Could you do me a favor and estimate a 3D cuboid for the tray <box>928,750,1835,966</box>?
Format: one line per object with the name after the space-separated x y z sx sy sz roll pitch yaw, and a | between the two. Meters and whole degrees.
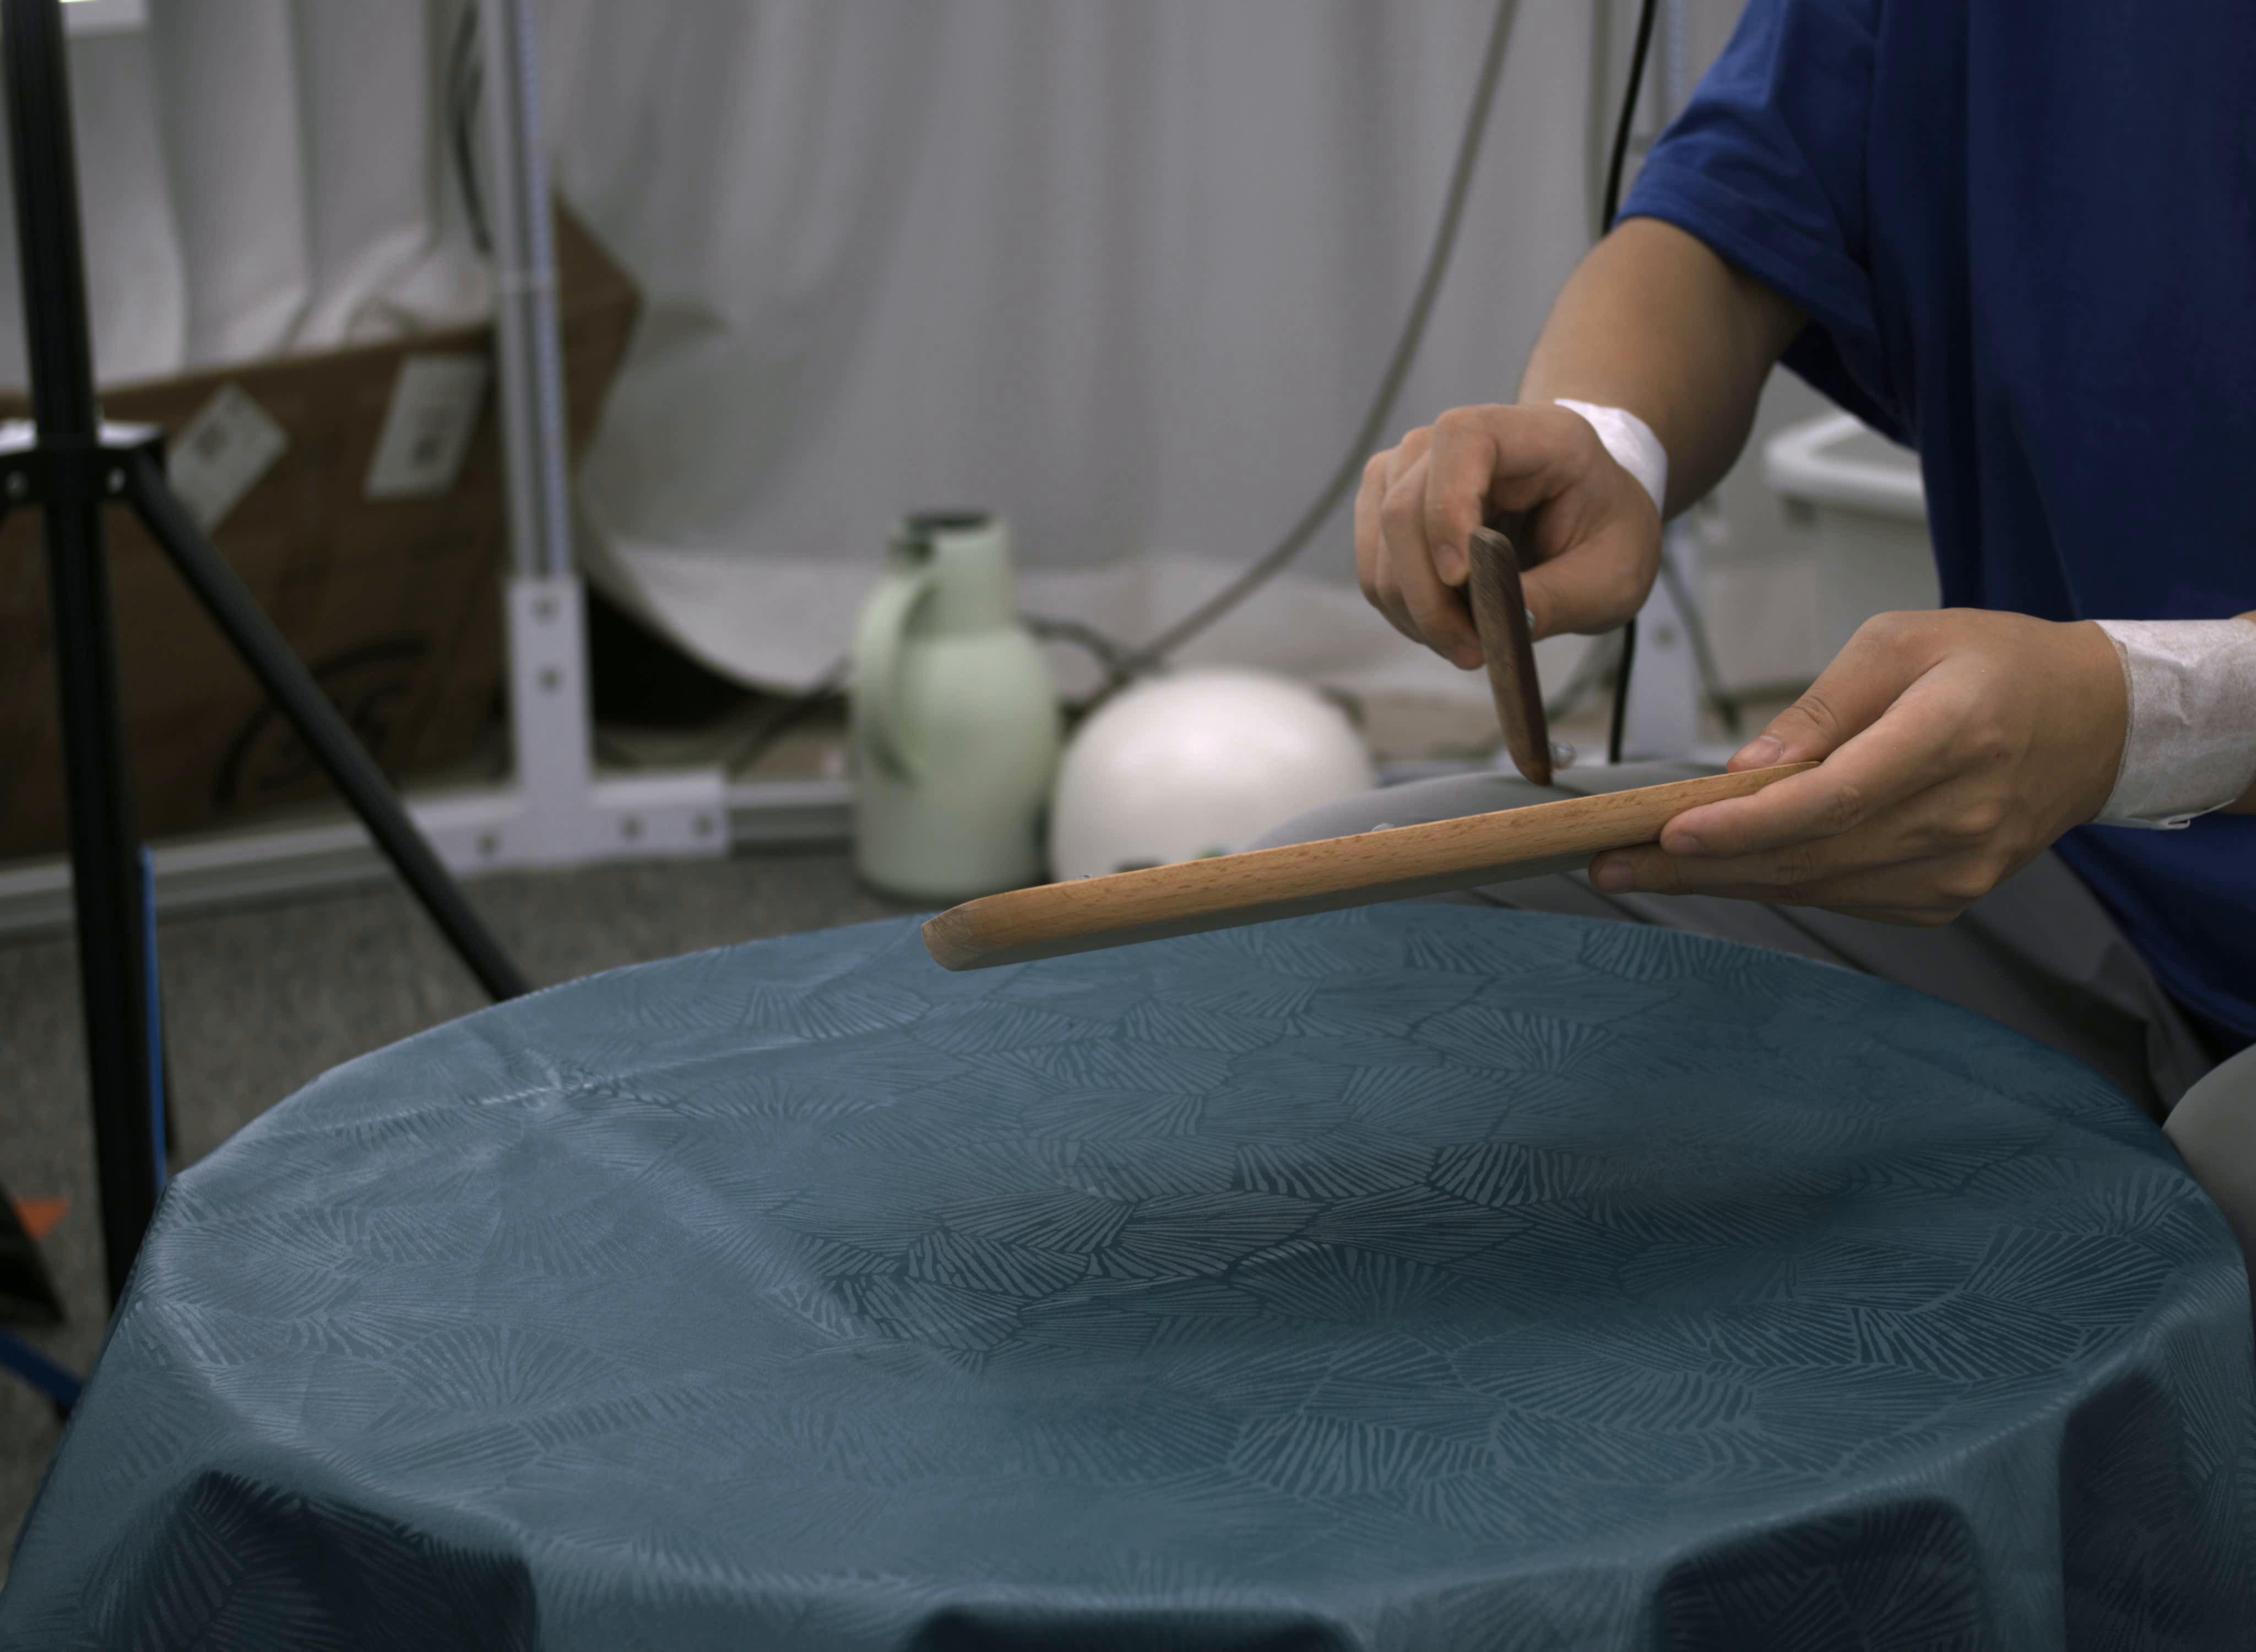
0.071 0.010 1.504 0.248 0.023 0.131 -9 -1 -9 | tray

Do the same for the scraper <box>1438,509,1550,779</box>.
0.105 -0.065 1.579 0.011 0.076 0.212 -10 10 0 | scraper
